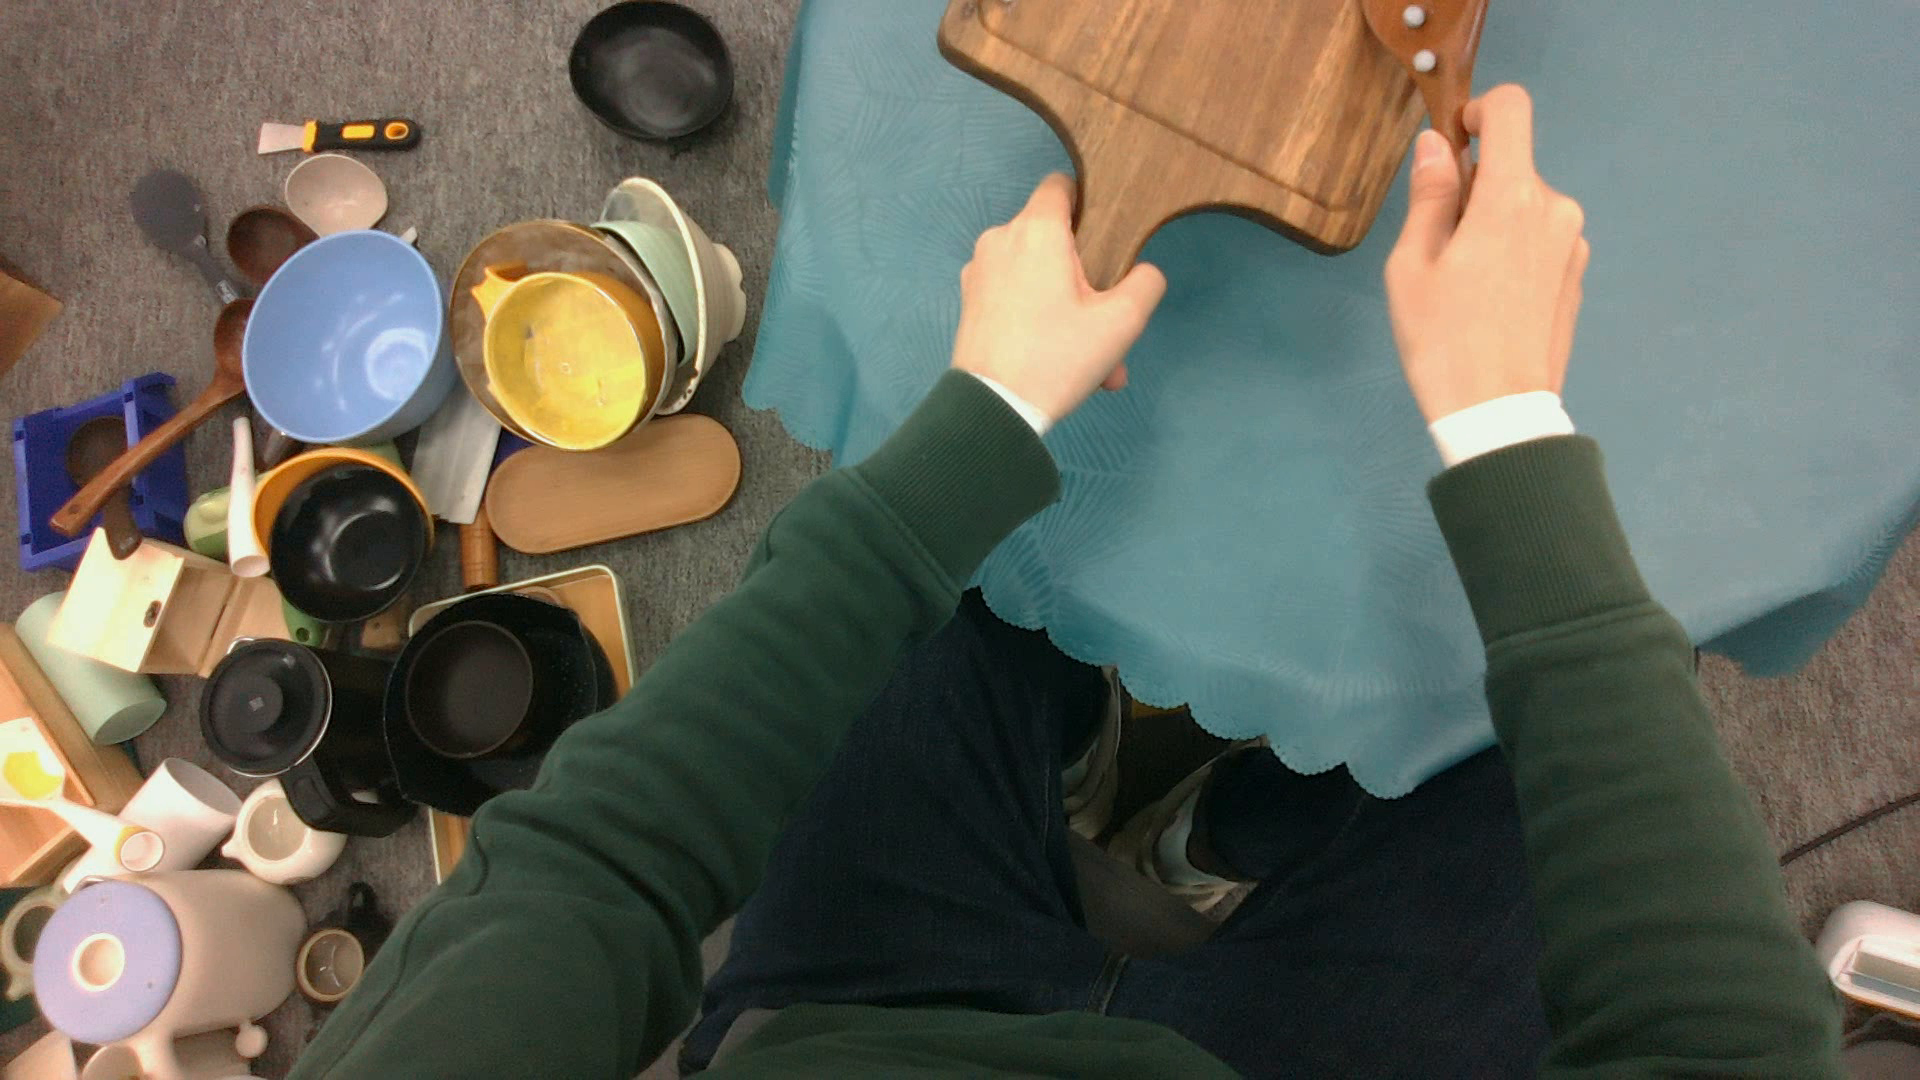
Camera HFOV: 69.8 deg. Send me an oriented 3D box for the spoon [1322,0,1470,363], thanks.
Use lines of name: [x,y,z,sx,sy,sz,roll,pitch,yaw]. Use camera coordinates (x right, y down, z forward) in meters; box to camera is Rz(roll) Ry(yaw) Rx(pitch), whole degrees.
spoon: [0.176,-0.175,0.534,0.017,0.075,0.216,-1,84,-29]

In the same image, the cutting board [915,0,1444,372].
cutting board: [0.098,-0.233,0.572,0.201,0.023,0.352,24,90,-10]
